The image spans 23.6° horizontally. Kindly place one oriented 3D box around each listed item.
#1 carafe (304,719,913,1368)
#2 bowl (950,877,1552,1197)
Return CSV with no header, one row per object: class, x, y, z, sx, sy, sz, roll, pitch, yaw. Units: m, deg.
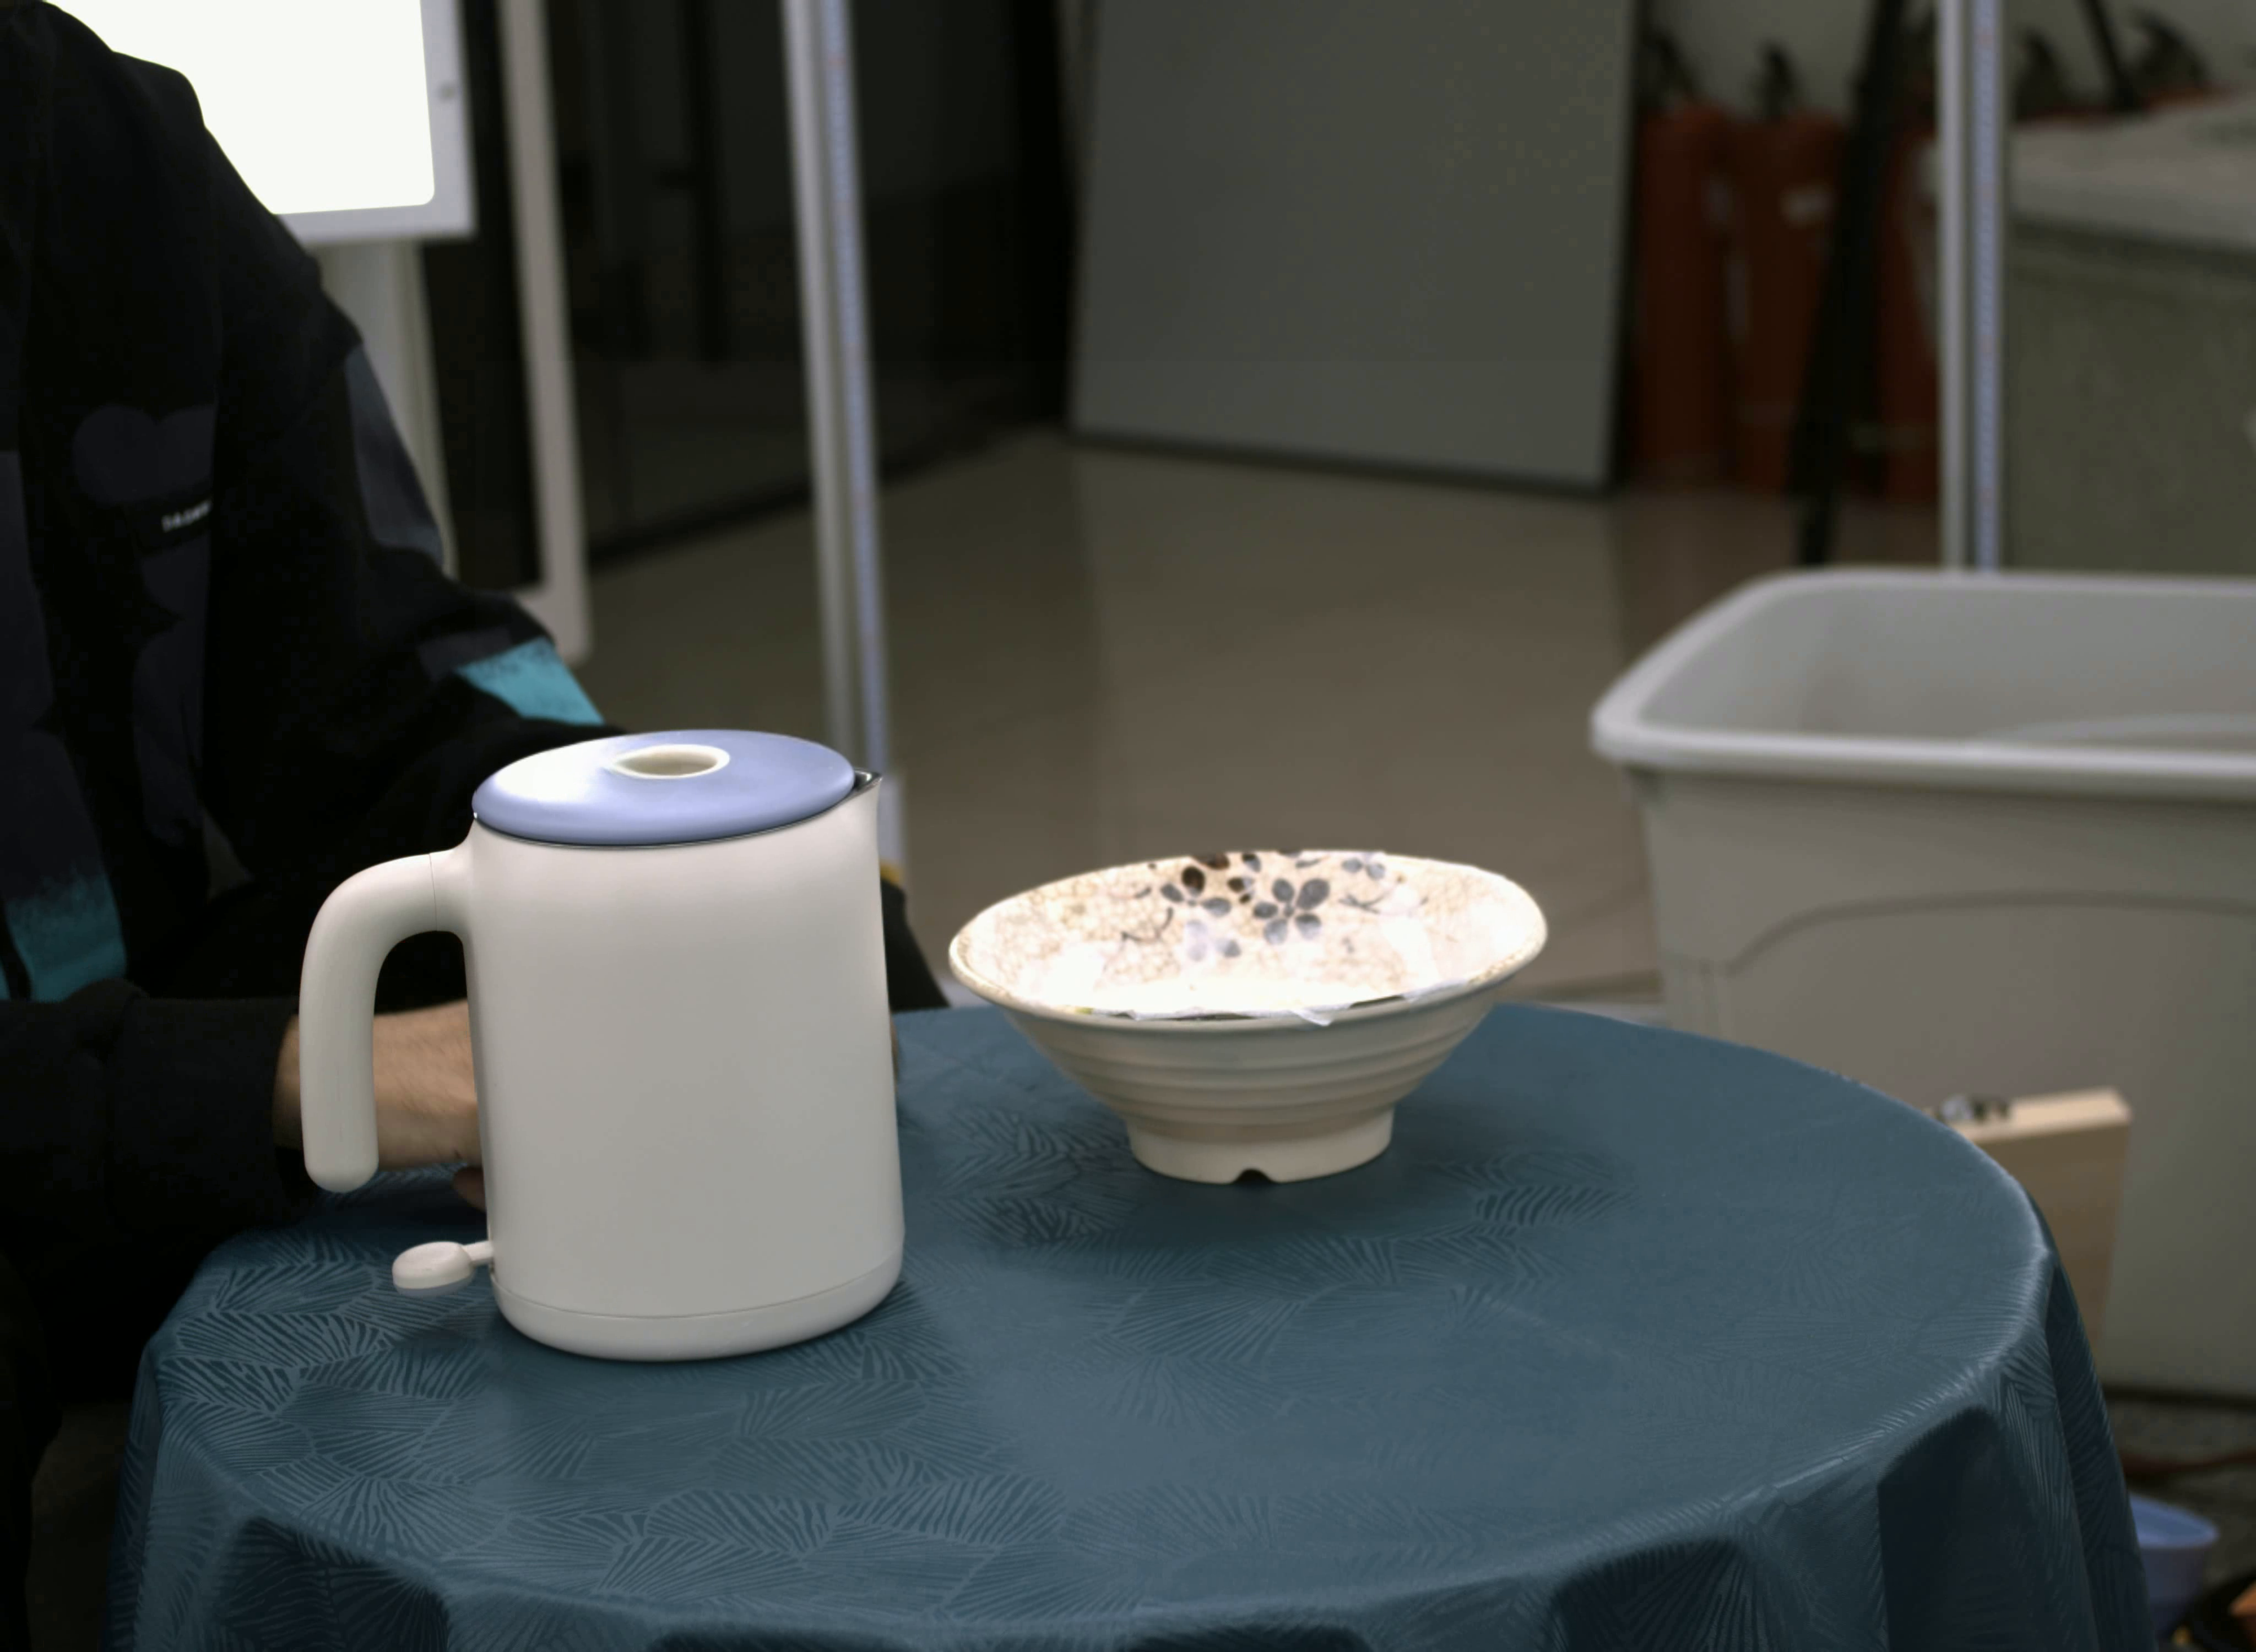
carafe,-0.160,0.070,1.669,0.188,0.184,0.133,-9,13,-11
bowl,0.044,0.075,1.797,0.201,0.079,0.204,-6,10,0
